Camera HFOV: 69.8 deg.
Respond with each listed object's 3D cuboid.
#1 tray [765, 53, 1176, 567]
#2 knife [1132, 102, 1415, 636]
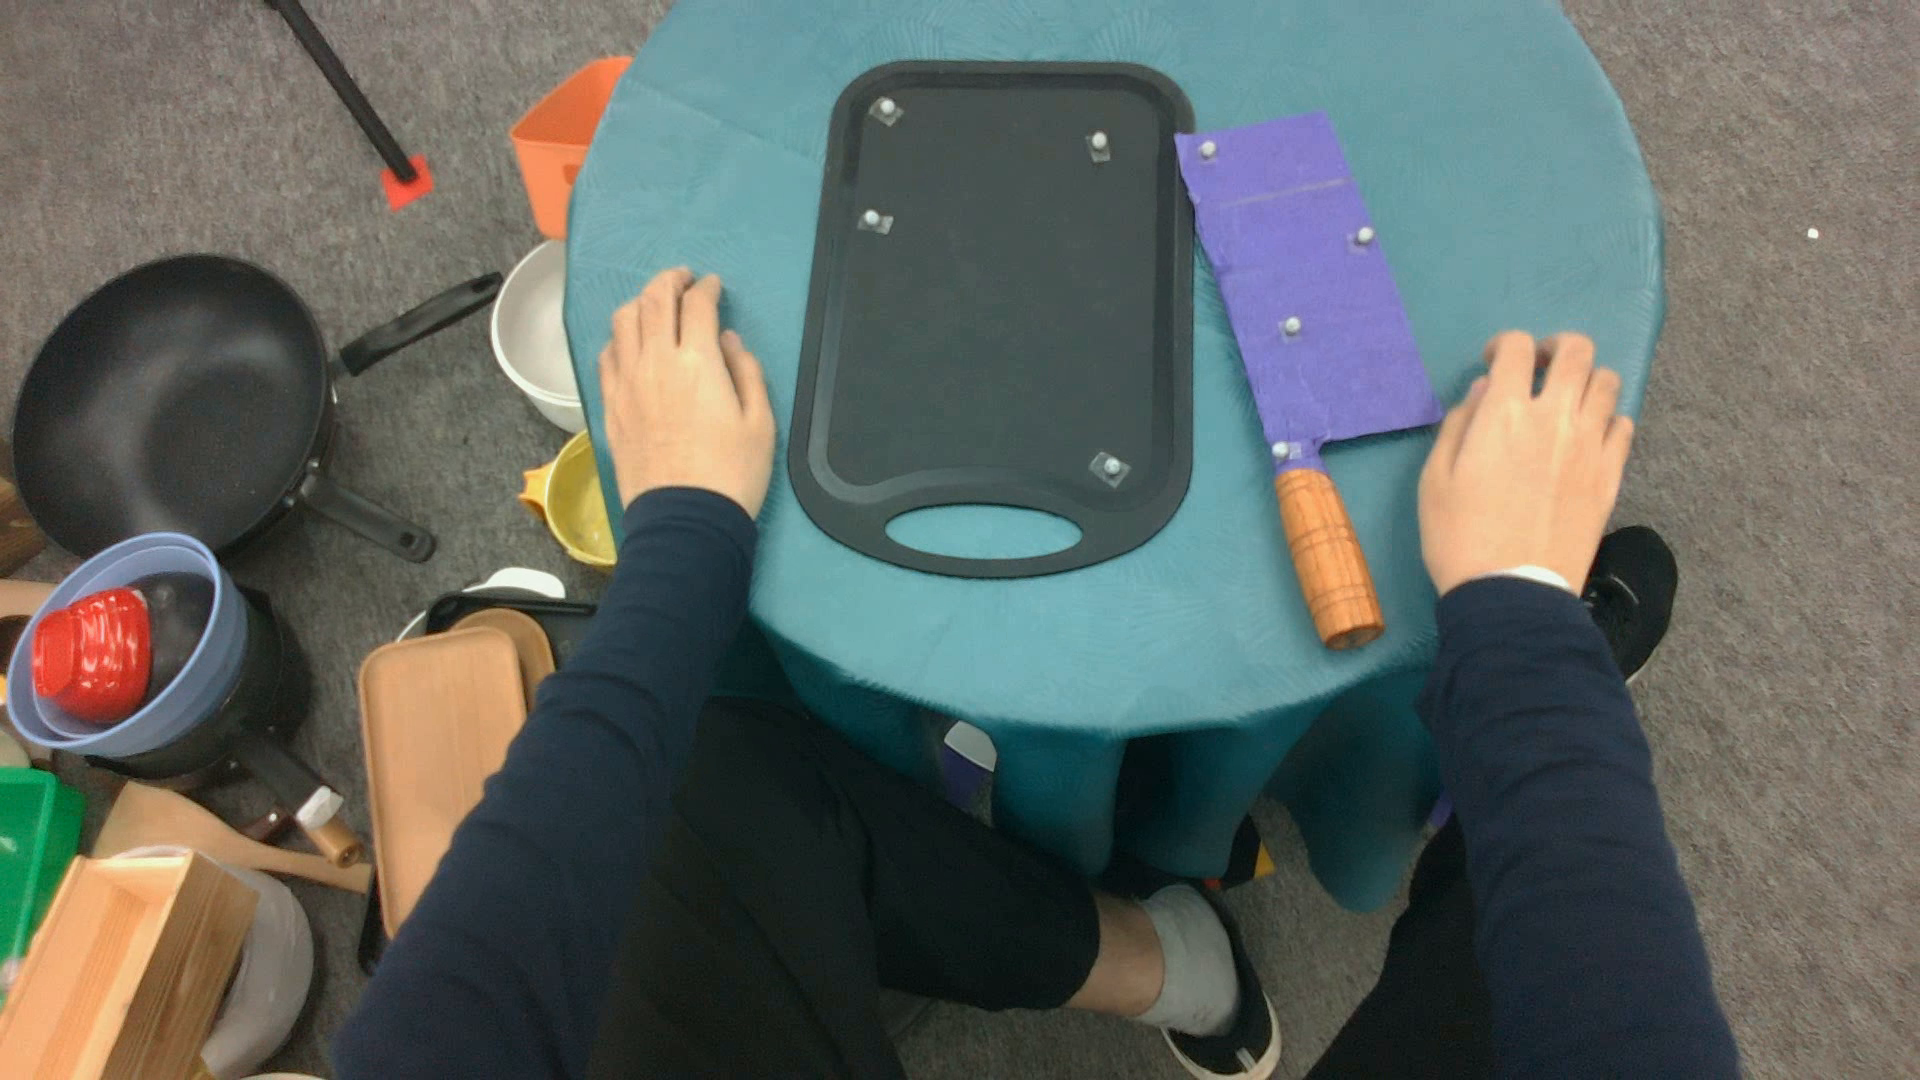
[{"bbox_3d":[0.010,-0.137,0.744,0.211,0.010,0.326,2,66,4],"label":"tray"},{"bbox_3d":[0.178,-0.105,0.711,0.104,0.032,0.316,-11,66,-4],"label":"knife"}]
